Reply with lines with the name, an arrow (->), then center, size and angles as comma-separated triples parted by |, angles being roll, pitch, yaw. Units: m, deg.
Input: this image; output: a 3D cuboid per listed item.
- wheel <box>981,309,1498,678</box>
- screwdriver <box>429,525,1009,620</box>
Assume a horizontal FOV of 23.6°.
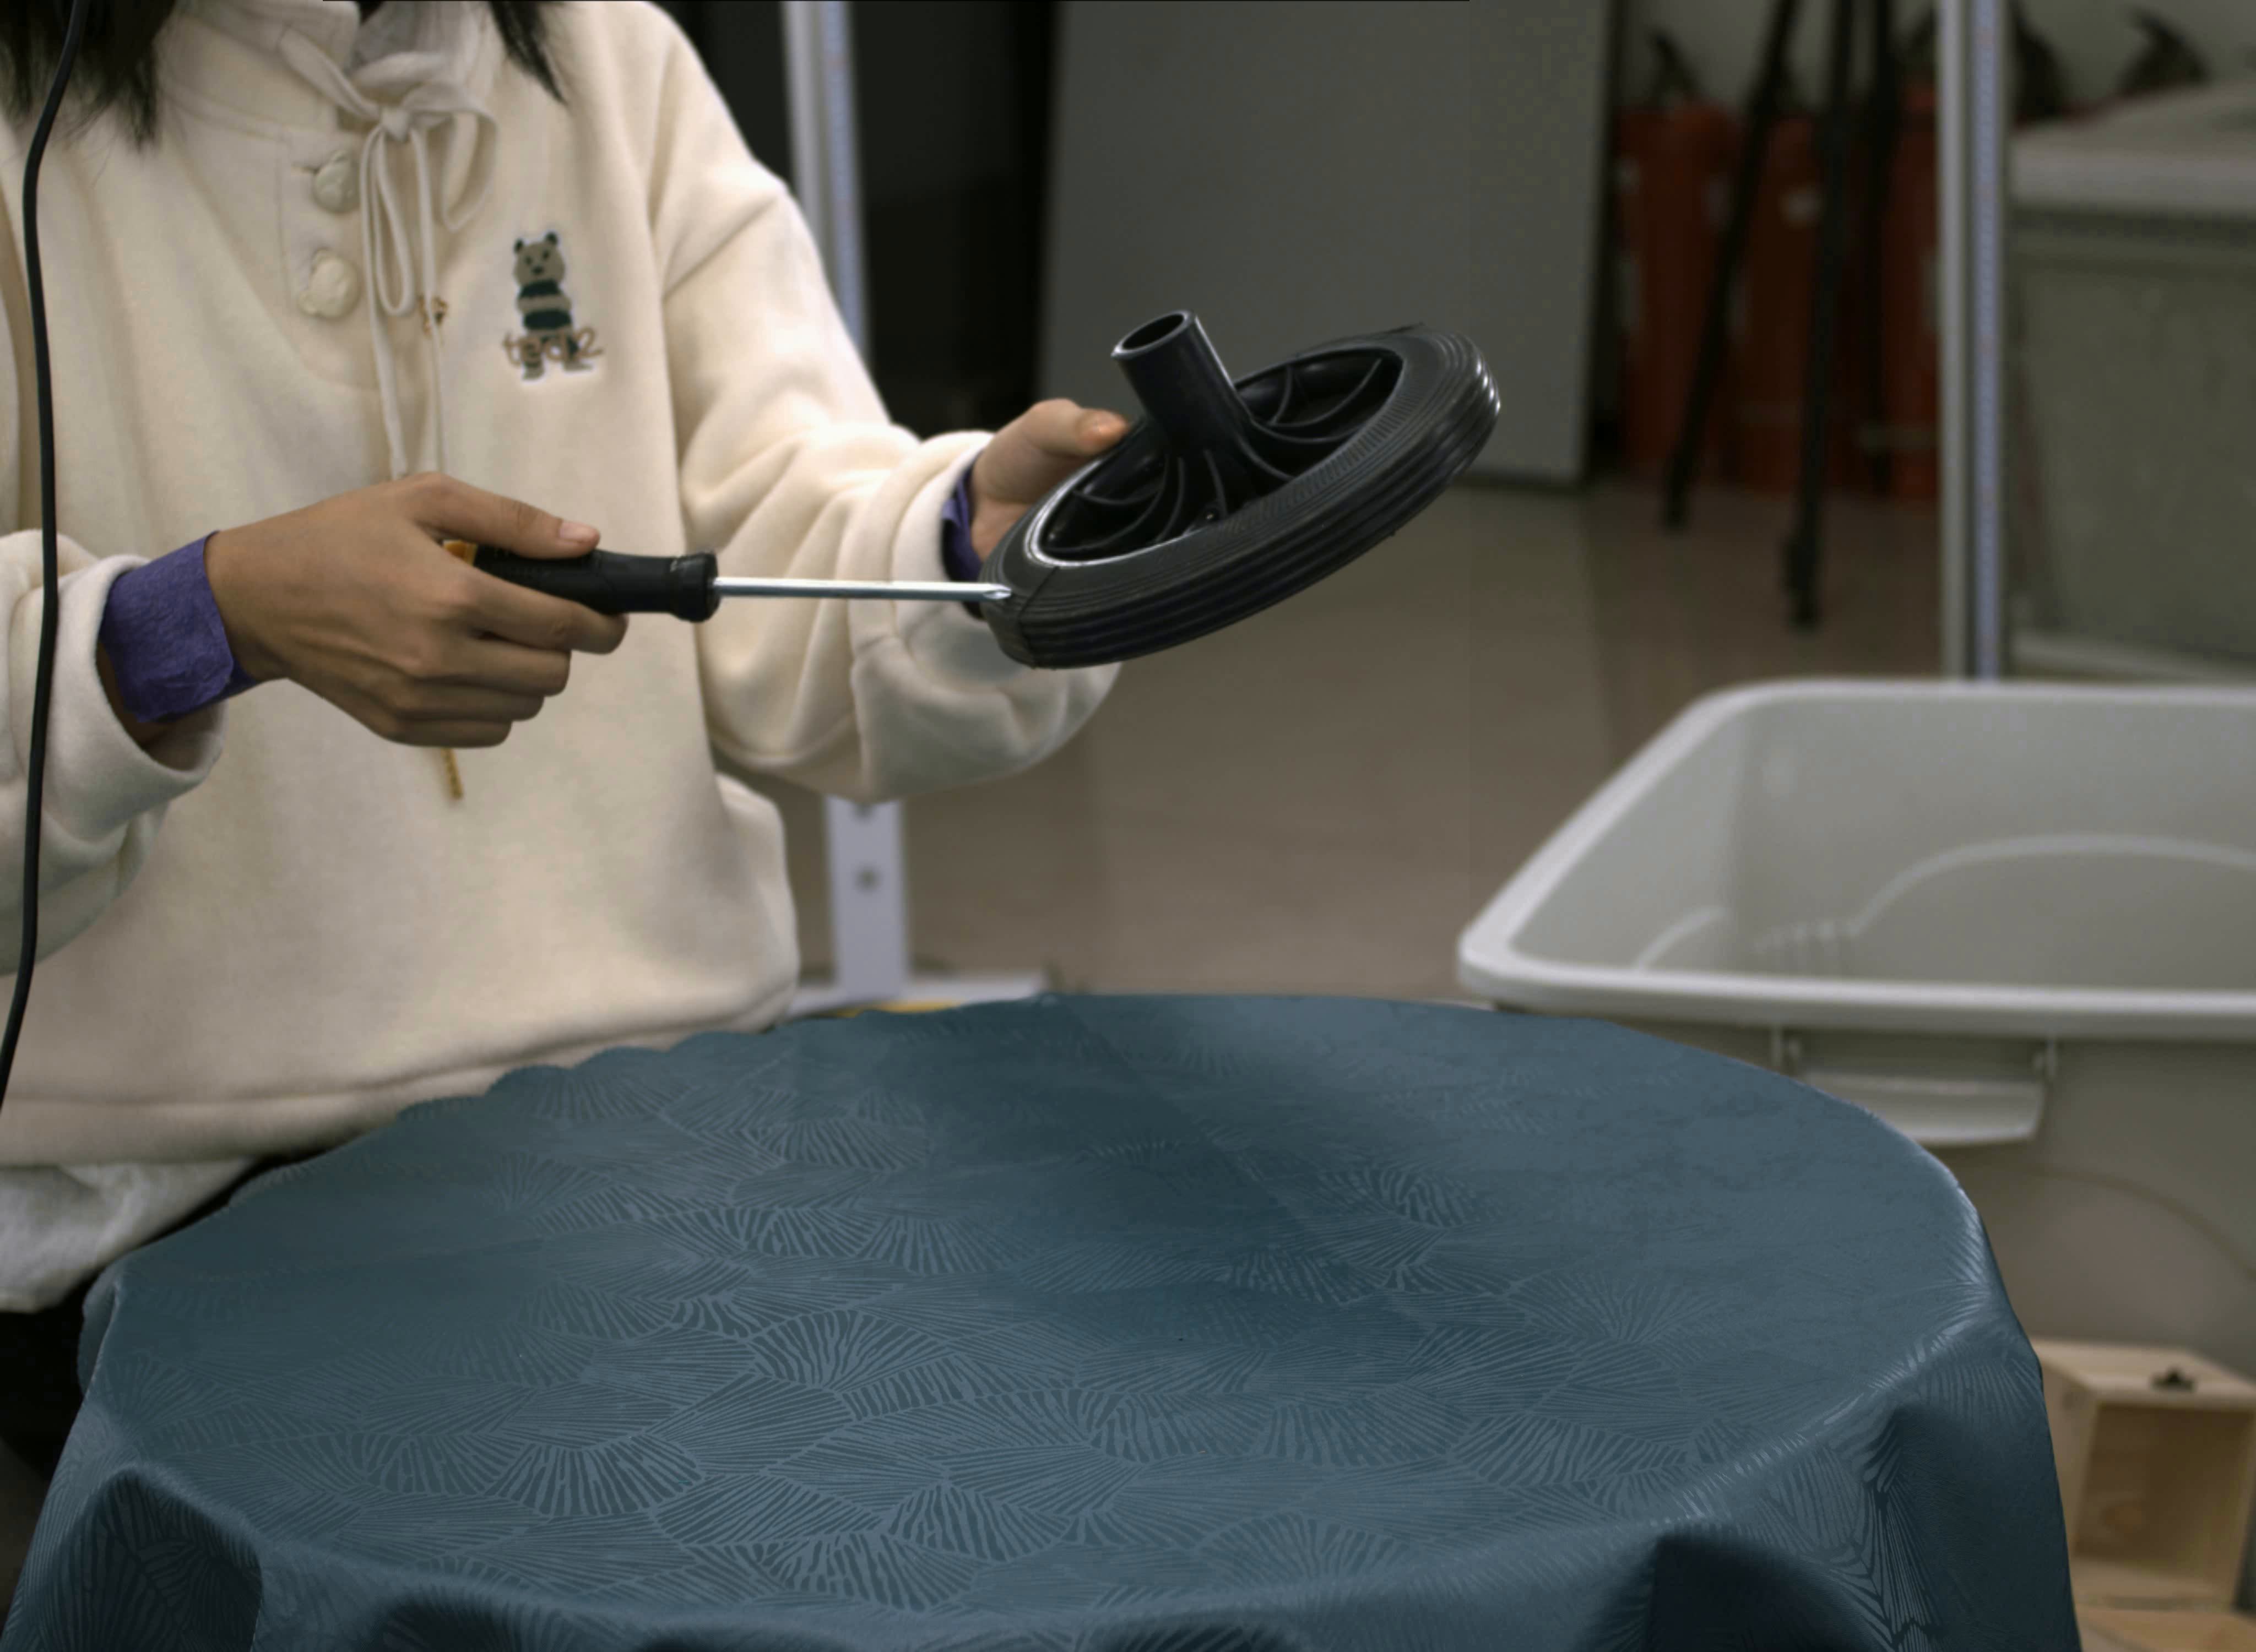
wheel -> 0.026, -0.127, 1.779 | 0.187, 0.079, 0.190 | -26, 22, 11
screwdriver -> -0.135, -0.083, 1.778 | 0.195, 0.032, 0.031 | 1, 14, 12
